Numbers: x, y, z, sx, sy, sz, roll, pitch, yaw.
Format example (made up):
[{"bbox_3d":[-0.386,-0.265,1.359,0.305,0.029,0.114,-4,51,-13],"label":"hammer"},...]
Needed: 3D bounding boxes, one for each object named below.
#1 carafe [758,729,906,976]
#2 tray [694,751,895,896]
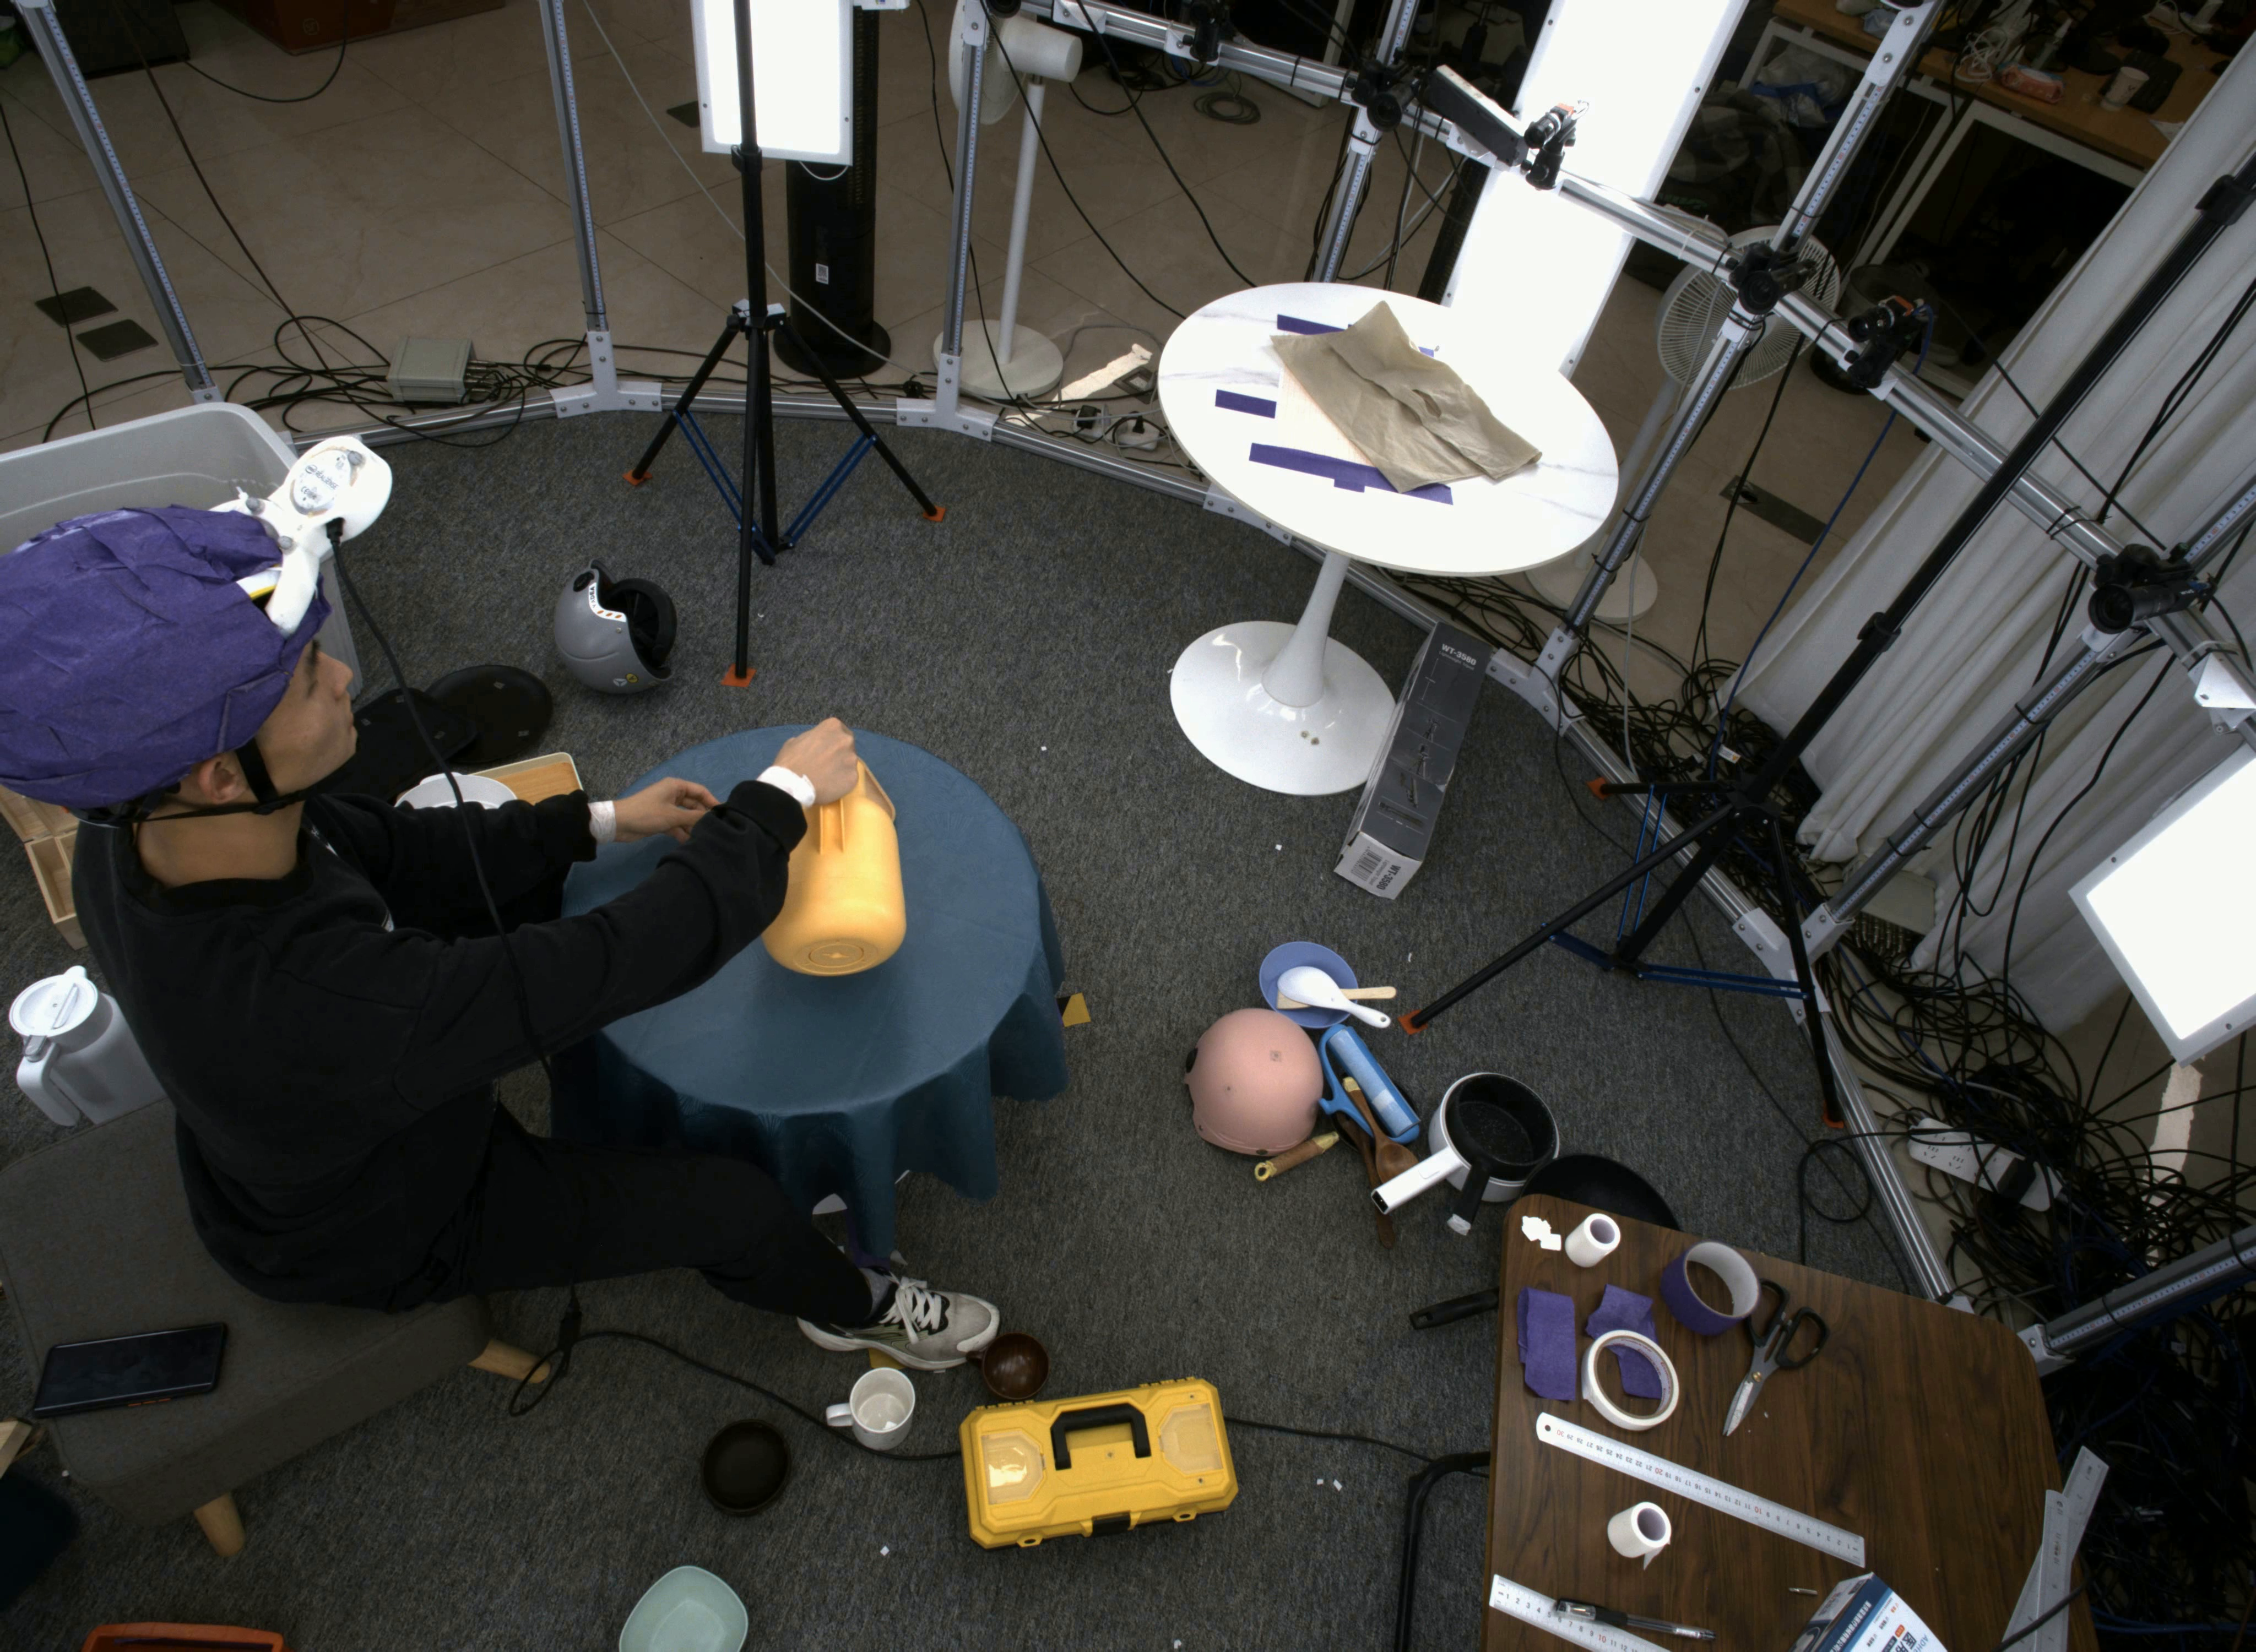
[{"bbox_3d":[-0.348,0.020,1.498,0.163,0.206,0.255,-6,60,-14],"label":"carafe"},{"bbox_3d":[-0.432,-0.006,1.687,0.252,0.023,0.129,-28,78,-34],"label":"tray"}]
